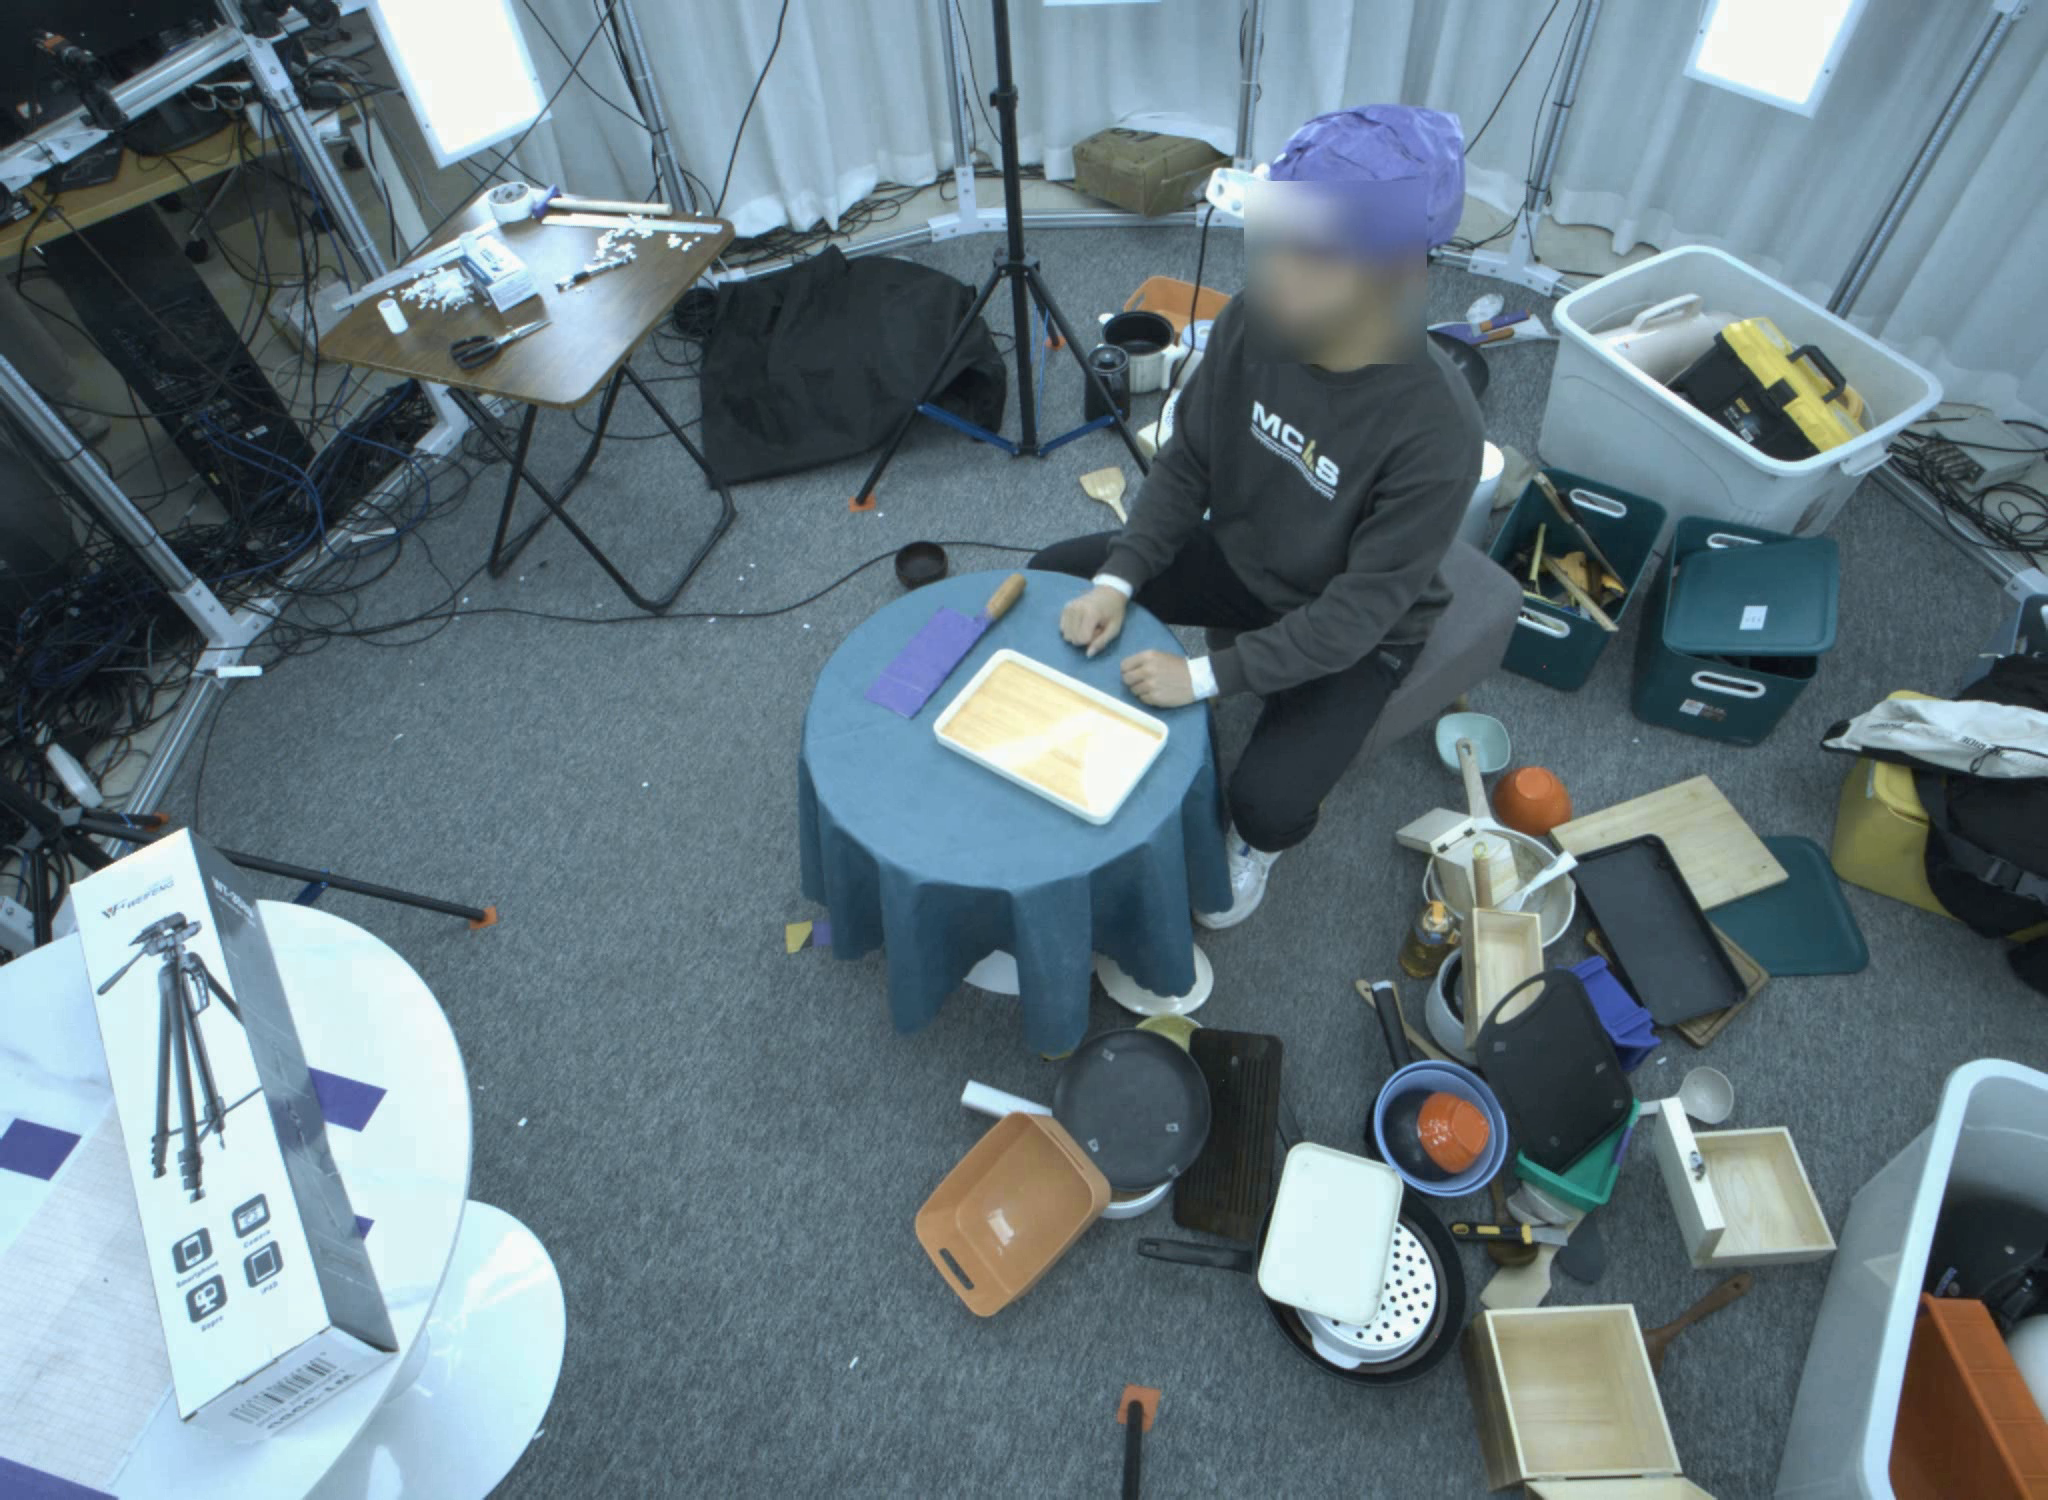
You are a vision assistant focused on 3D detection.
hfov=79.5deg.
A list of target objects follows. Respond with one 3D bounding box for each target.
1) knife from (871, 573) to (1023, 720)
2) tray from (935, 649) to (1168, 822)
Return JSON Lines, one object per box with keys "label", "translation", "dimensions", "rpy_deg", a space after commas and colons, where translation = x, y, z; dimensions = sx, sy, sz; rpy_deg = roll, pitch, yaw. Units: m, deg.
{"label": "knife", "translation": [-0.121, -0.177, 1.907], "dimensions": [0.102, 0.032, 0.316], "rpy_deg": [27, 60, 19]}
{"label": "tray", "translation": [0.039, -0.026, 1.796], "dimensions": [0.296, 0.028, 0.192], "rpy_deg": [27, 59, 19]}
